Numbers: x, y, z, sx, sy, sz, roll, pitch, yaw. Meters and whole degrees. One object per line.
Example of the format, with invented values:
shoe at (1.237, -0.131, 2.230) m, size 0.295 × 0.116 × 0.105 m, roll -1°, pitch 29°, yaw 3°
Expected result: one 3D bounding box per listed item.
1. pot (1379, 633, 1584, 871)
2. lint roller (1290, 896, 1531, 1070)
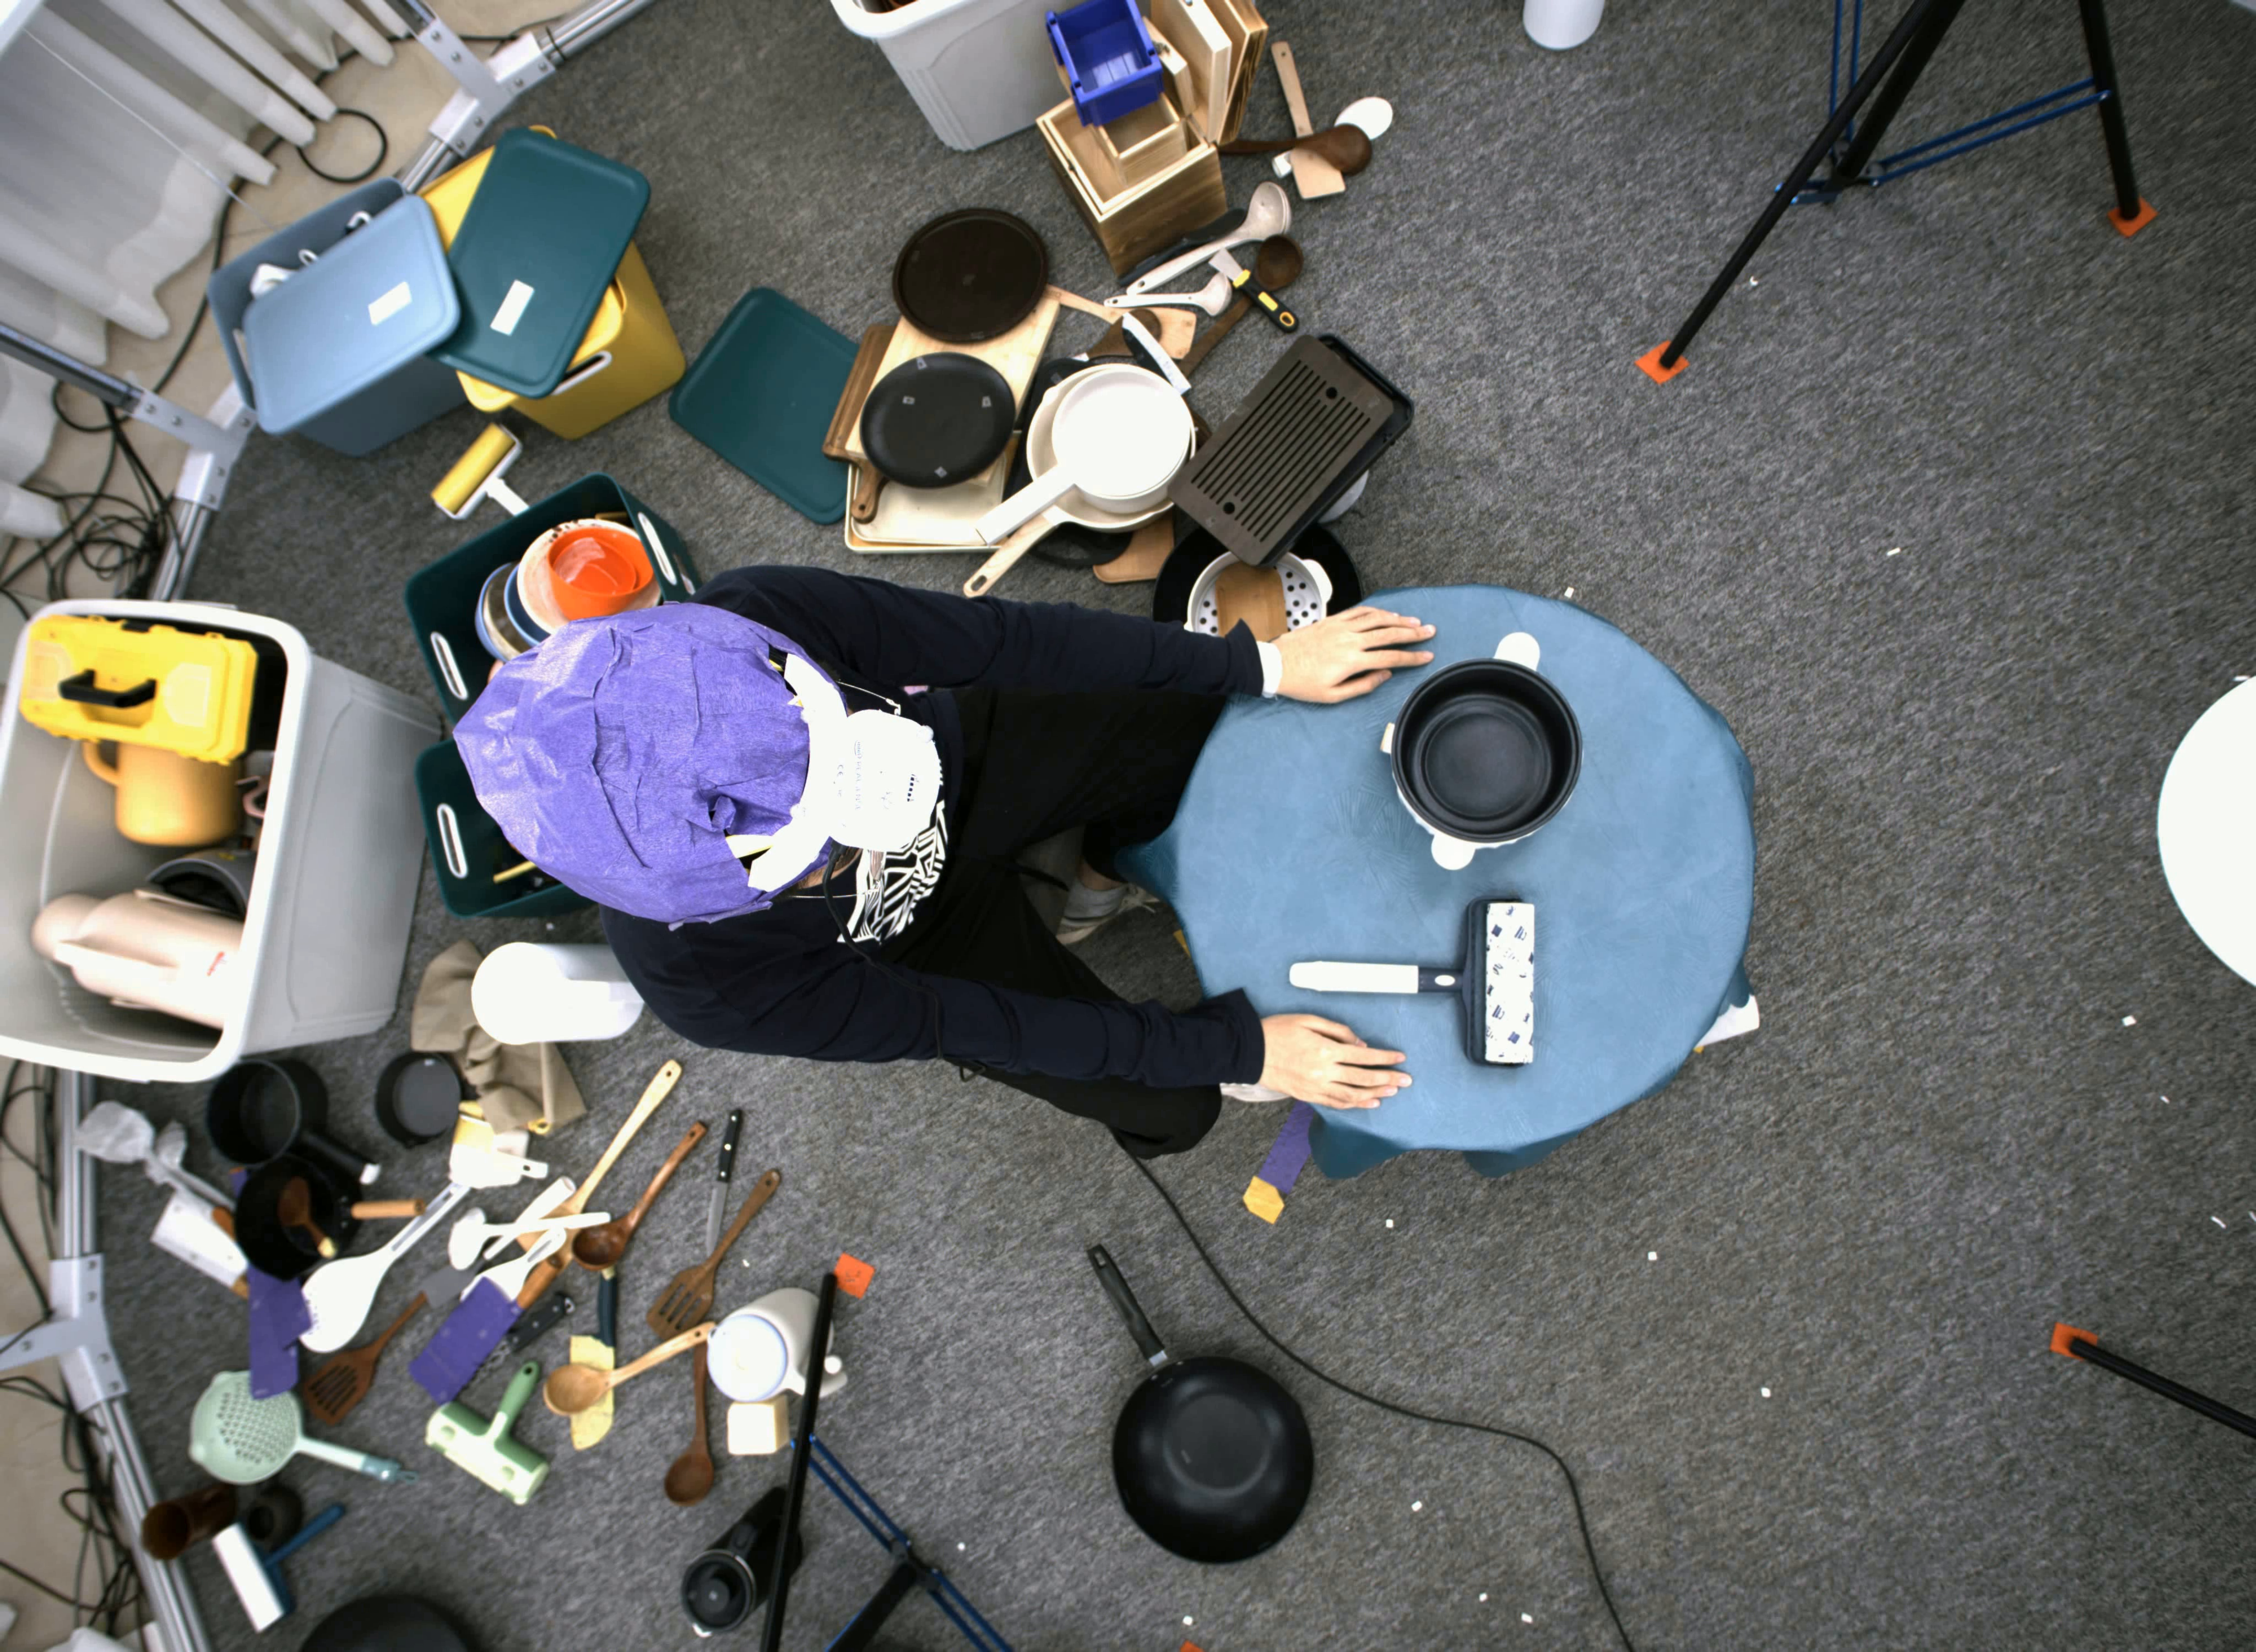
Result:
pot at (0.350, -0.069, 1.382) m, size 0.190 × 0.143 × 0.240 m, roll 18°, pitch 89°, yaw 8°
lint roller at (0.290, 0.158, 1.430) m, size 0.248 × 0.050 × 0.176 m, roll 0°, pitch 88°, yaw 13°
